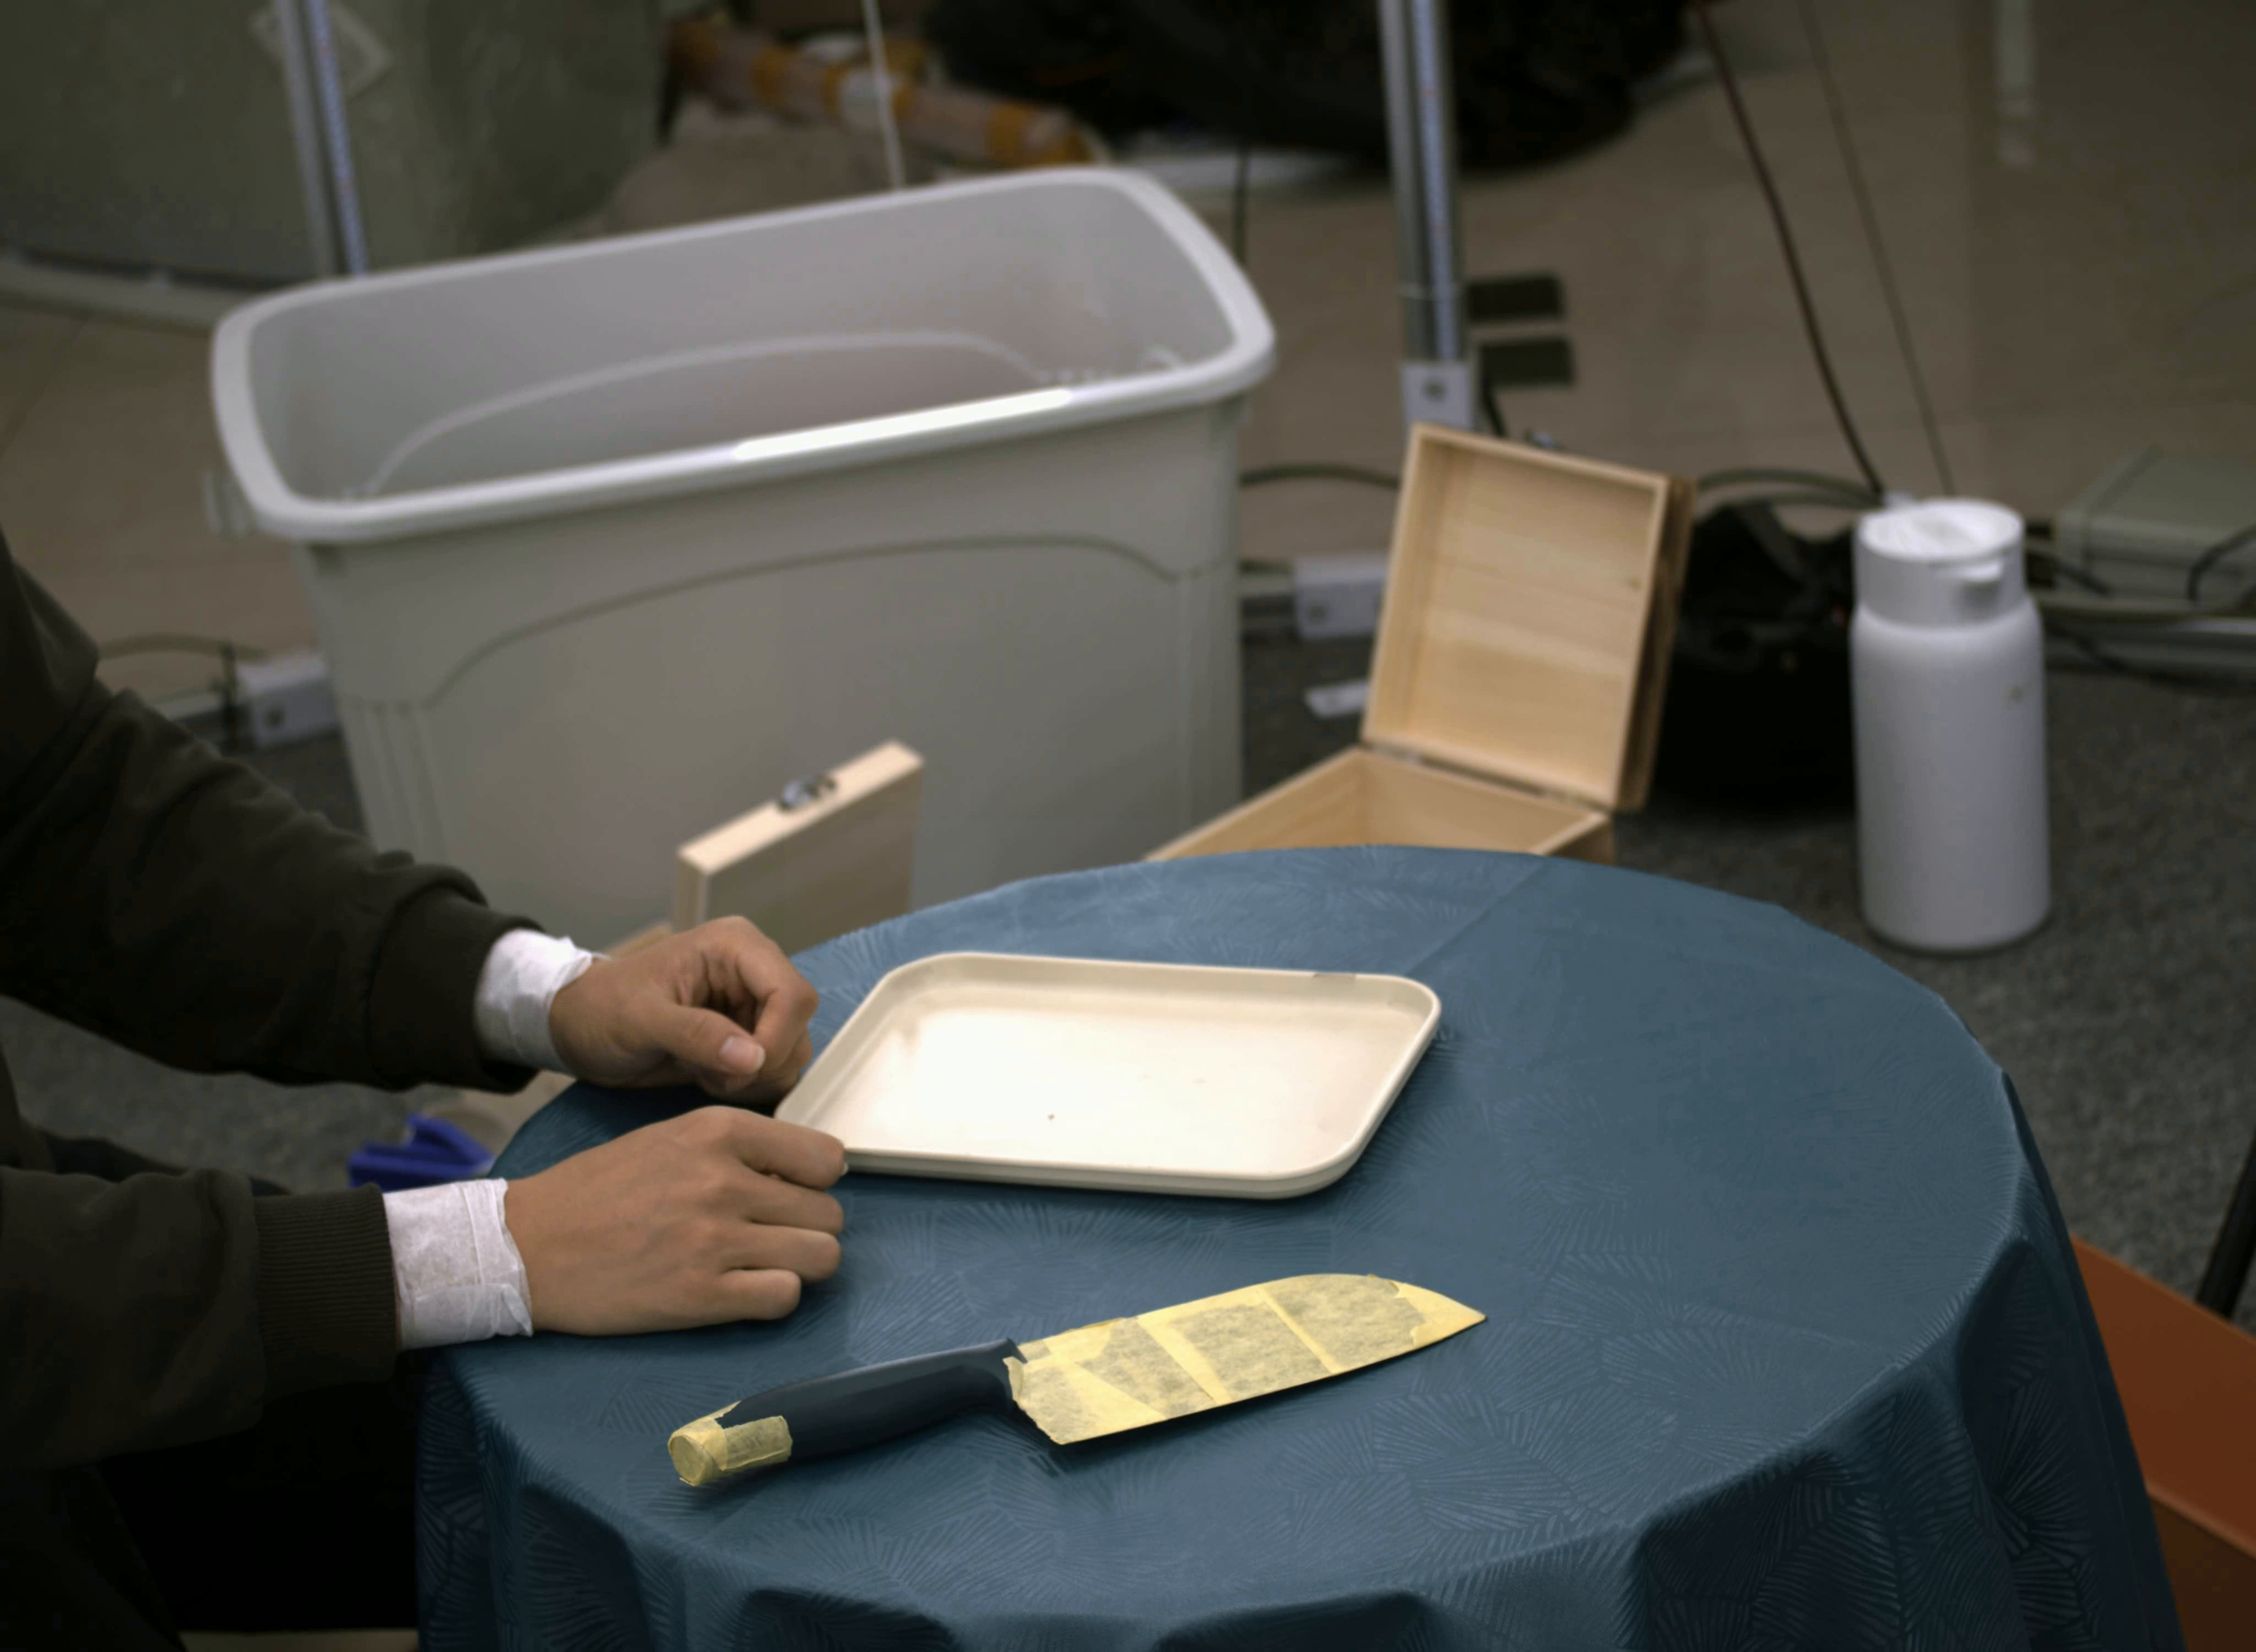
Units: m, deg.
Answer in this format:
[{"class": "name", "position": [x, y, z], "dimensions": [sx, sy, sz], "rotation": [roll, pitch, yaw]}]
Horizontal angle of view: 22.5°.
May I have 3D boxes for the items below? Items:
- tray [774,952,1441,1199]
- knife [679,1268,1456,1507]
[{"class": "tray", "position": [-0.007, 0.098, 2.221], "dimensions": [0.239, 0.018, 0.169], "rotation": [3, 27, 20]}, {"class": "knife", "position": [-0.017, 0.199, 2.010], "dimensions": [0.288, 0.027, 0.080], "rotation": [-13, 24, -16]}]
